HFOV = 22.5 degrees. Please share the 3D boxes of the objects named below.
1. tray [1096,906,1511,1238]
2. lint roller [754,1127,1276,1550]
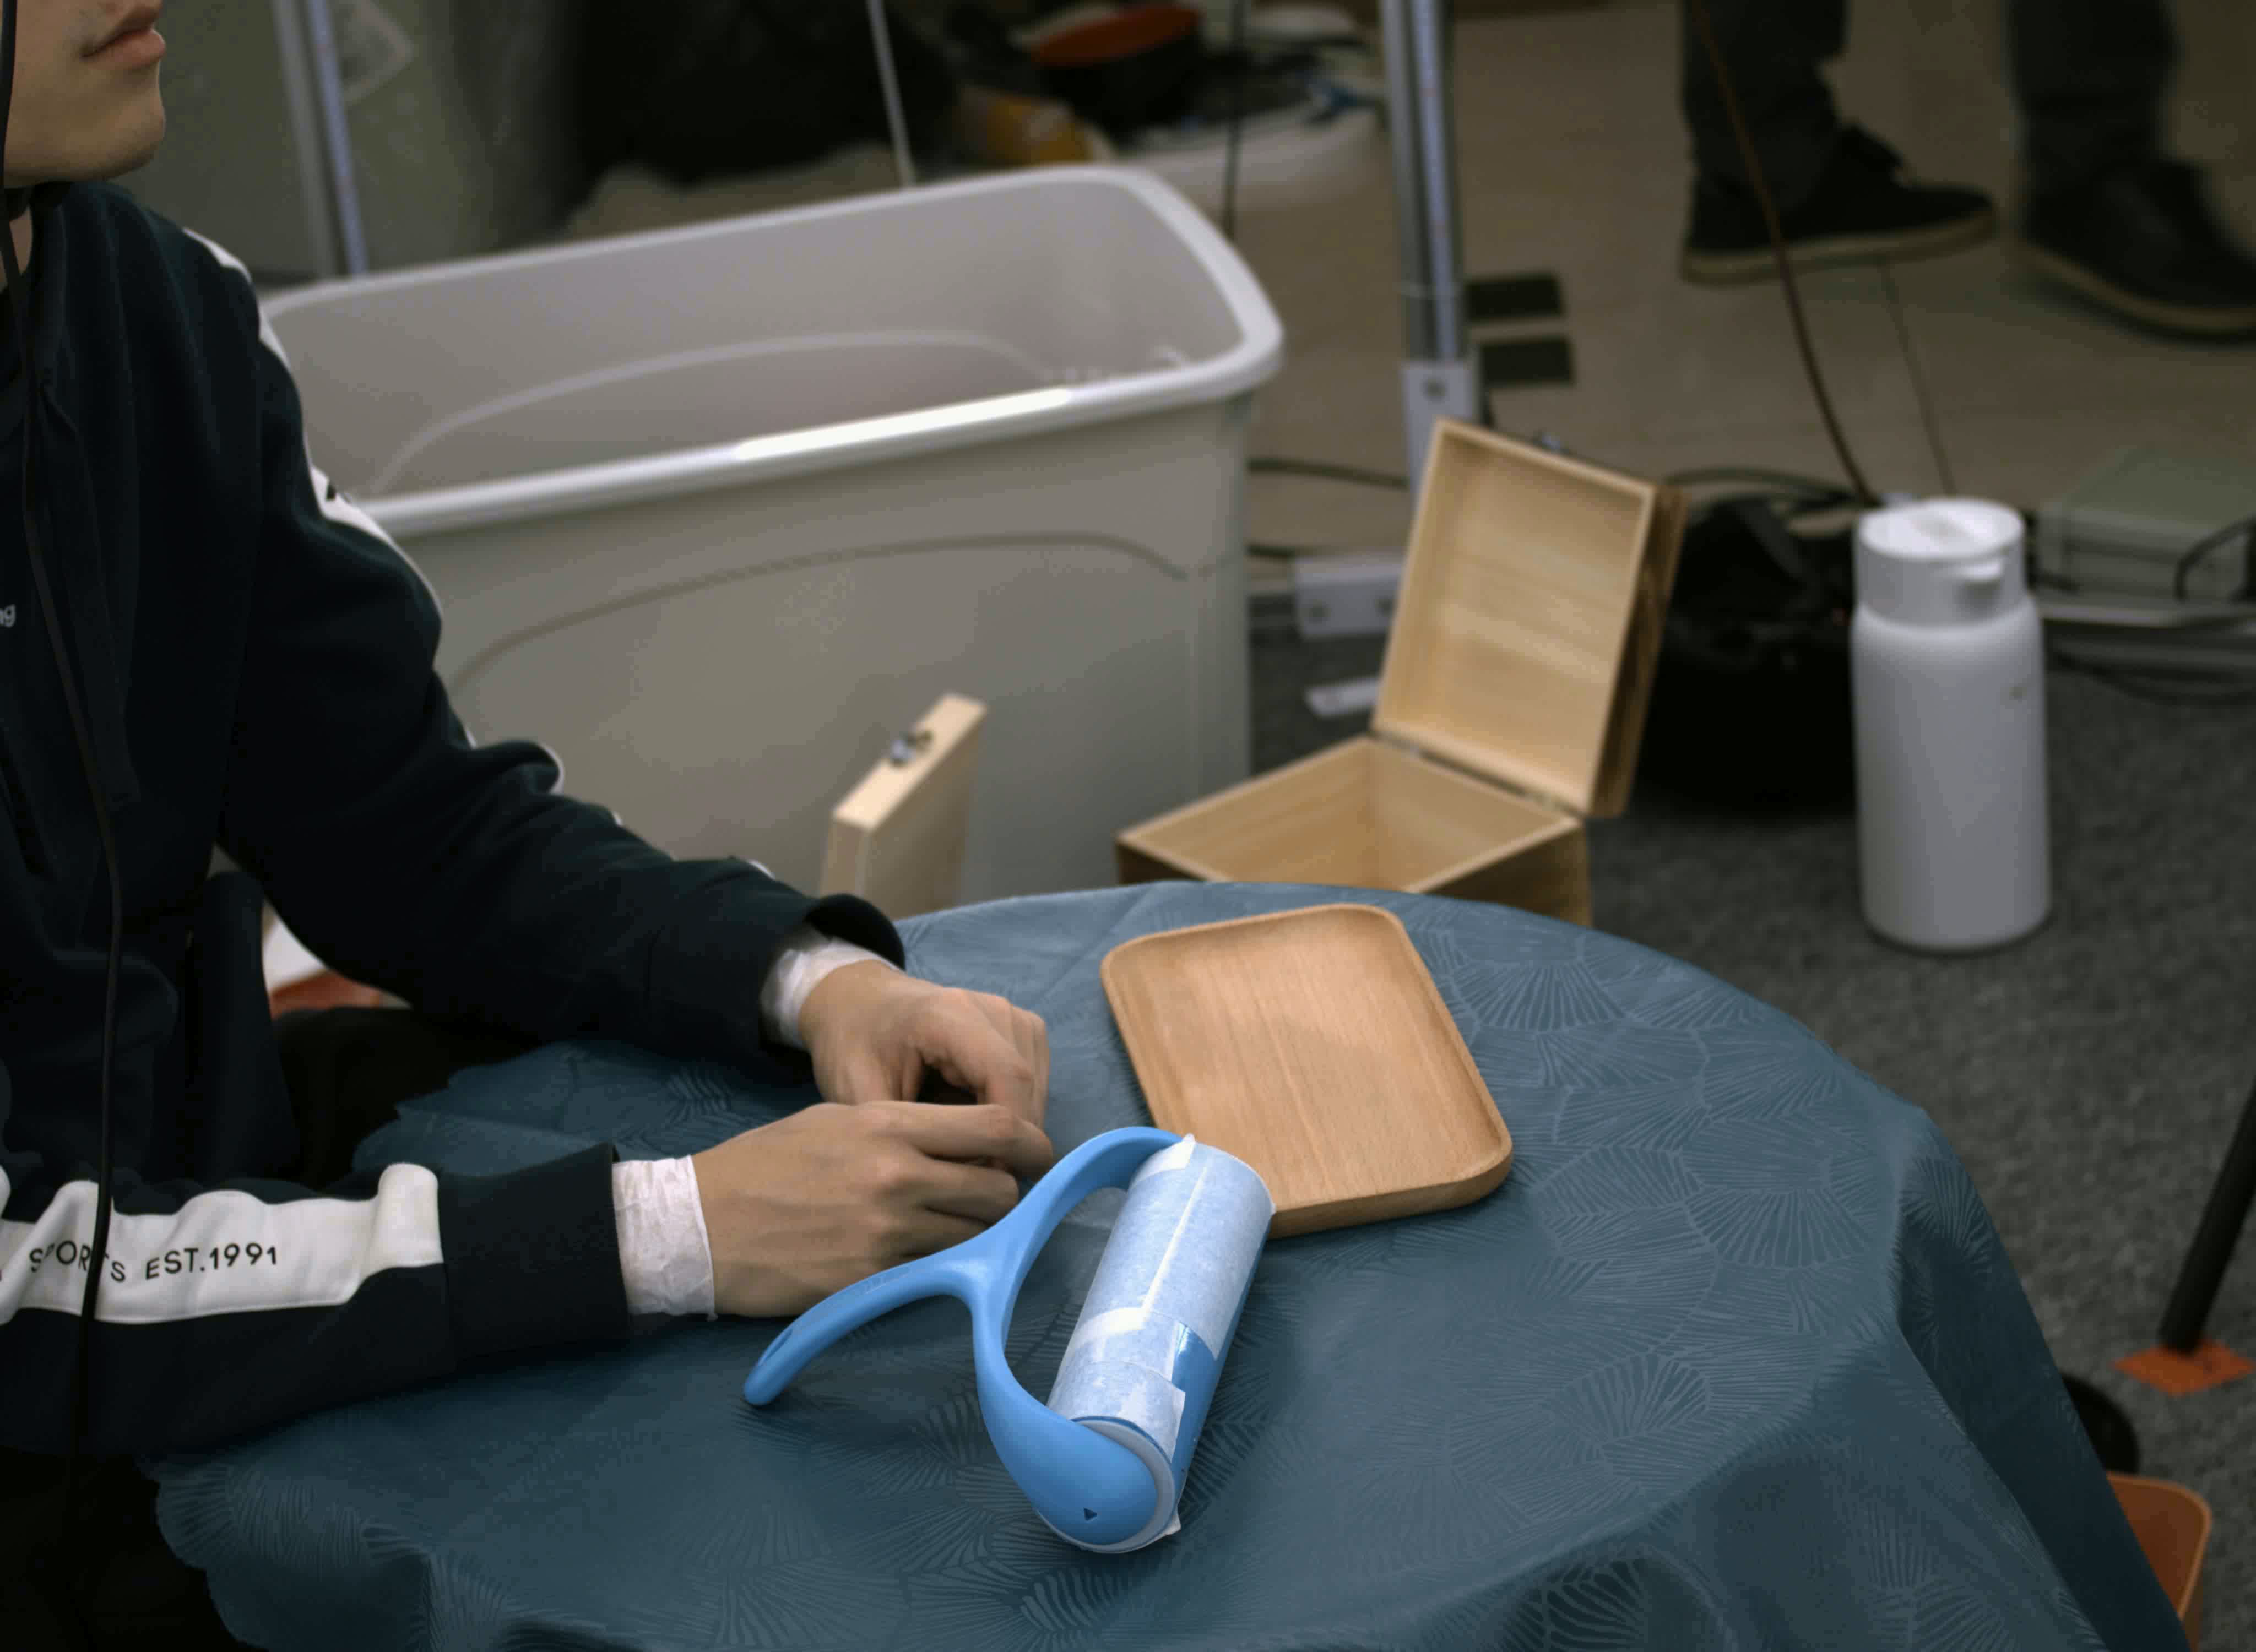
[{"bbox_3d":[0.066,0.094,2.204,0.130,0.023,0.247,-11,26,-4],"label":"tray"},{"bbox_3d":[-0.048,0.180,2.000,0.180,0.069,0.225,-1,27,10],"label":"lint roller"}]
